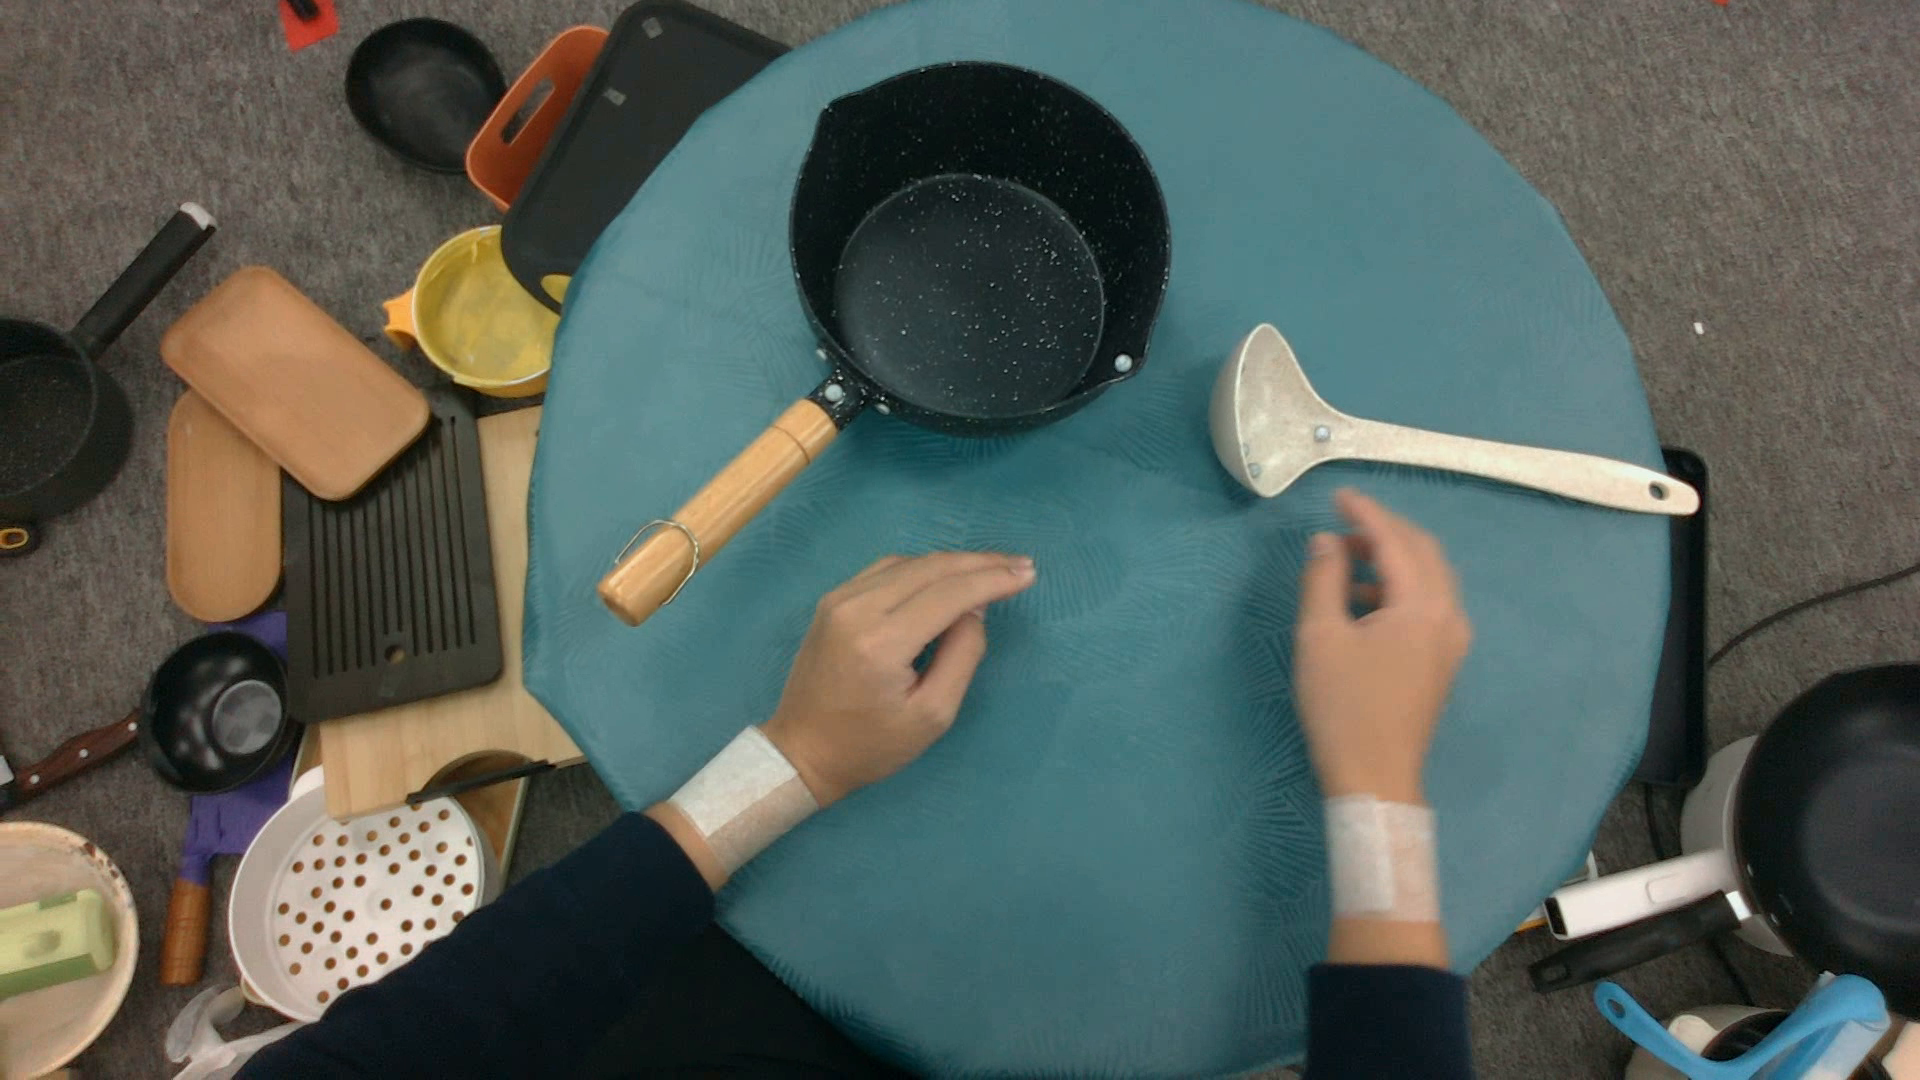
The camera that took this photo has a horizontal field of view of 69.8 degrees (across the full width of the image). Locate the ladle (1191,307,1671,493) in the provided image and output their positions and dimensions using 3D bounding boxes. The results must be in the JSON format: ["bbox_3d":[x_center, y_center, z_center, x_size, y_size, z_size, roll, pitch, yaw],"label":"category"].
[{"bbox_3d":[0.254,-0.060,0.710,0.275,0.069,0.089,8,71,-4],"label":"ladle"}]

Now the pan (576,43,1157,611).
[{"bbox_3d":[-0.049,-0.089,0.669,0.207,0.108,0.343,40,76,4],"label":"pan"}]
